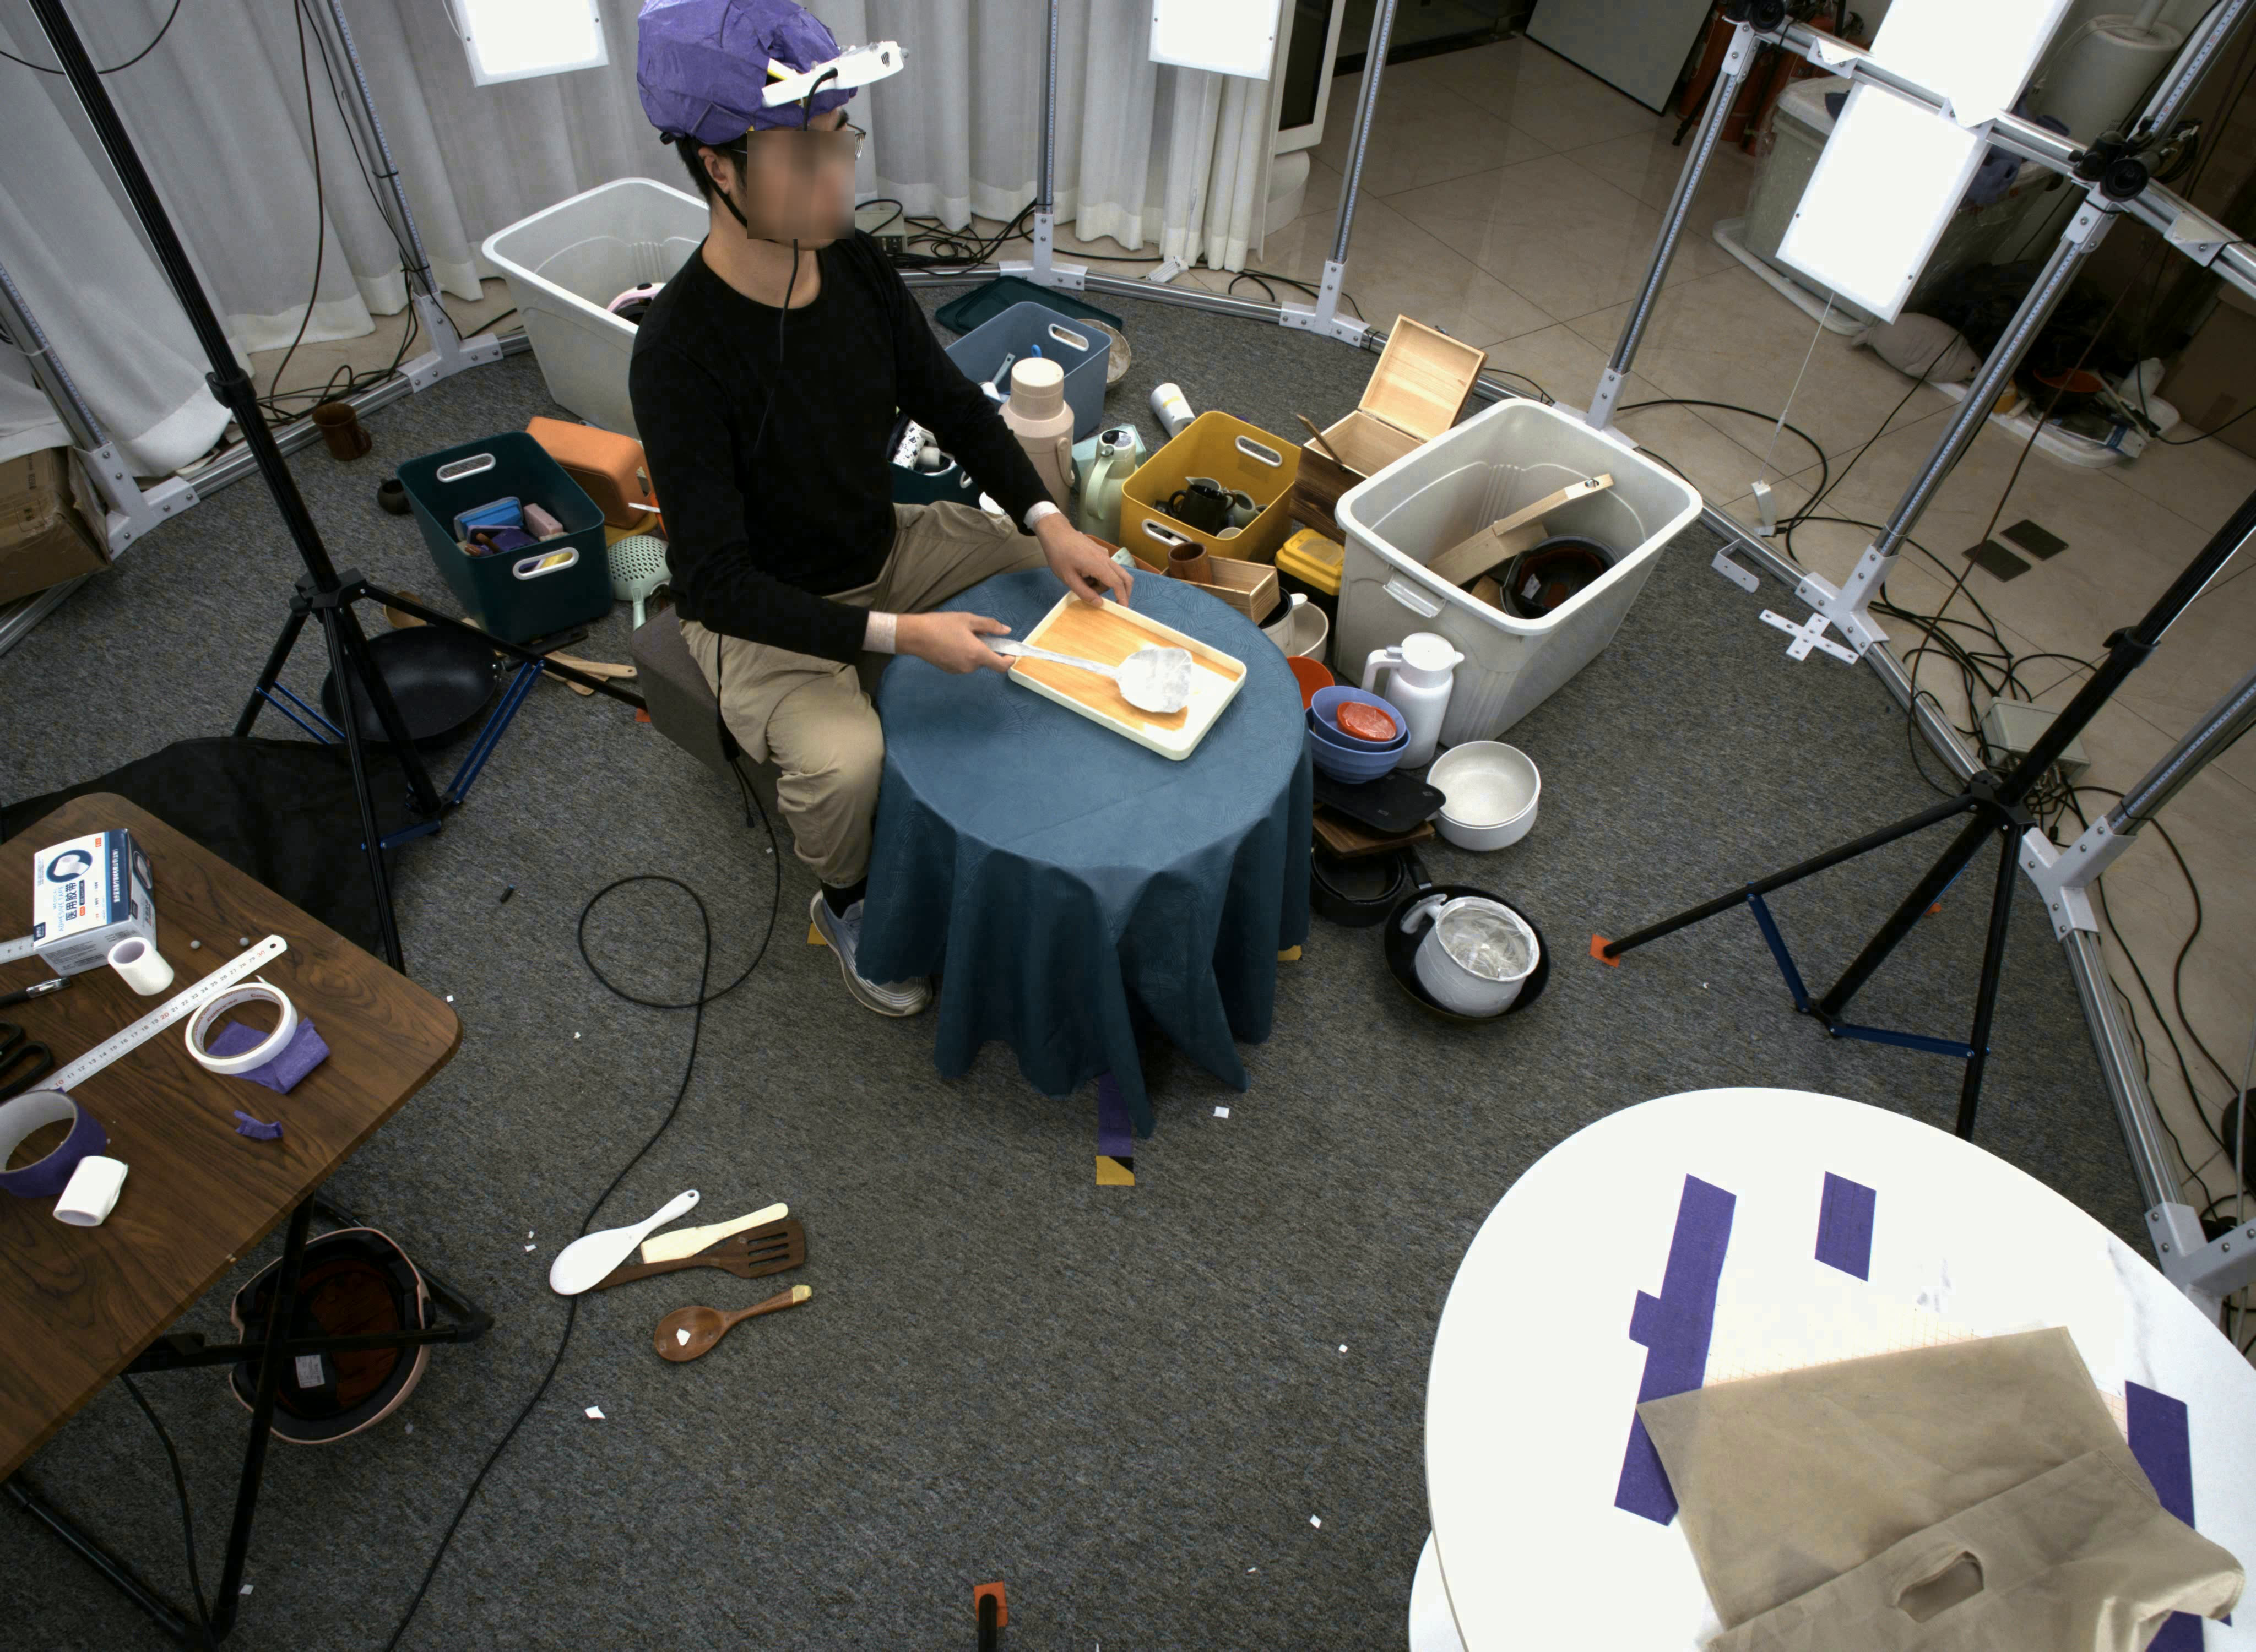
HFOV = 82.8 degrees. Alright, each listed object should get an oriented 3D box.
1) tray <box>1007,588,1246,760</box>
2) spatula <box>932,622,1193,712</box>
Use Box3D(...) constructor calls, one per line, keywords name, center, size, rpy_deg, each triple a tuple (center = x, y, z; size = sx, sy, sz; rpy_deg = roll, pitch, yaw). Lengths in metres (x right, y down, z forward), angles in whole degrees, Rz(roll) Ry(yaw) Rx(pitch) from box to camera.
Box3D(name="tray", center=(-0.002, -0.222, 1.833), size=(0.303, 0.027, 0.194), rpy_deg=(28, 59, 19))
Box3D(name="spatula", center=(-0.090, -0.234, 1.773), size=(0.363, 0.044, 0.100), rpy_deg=(12, 73, -11))
